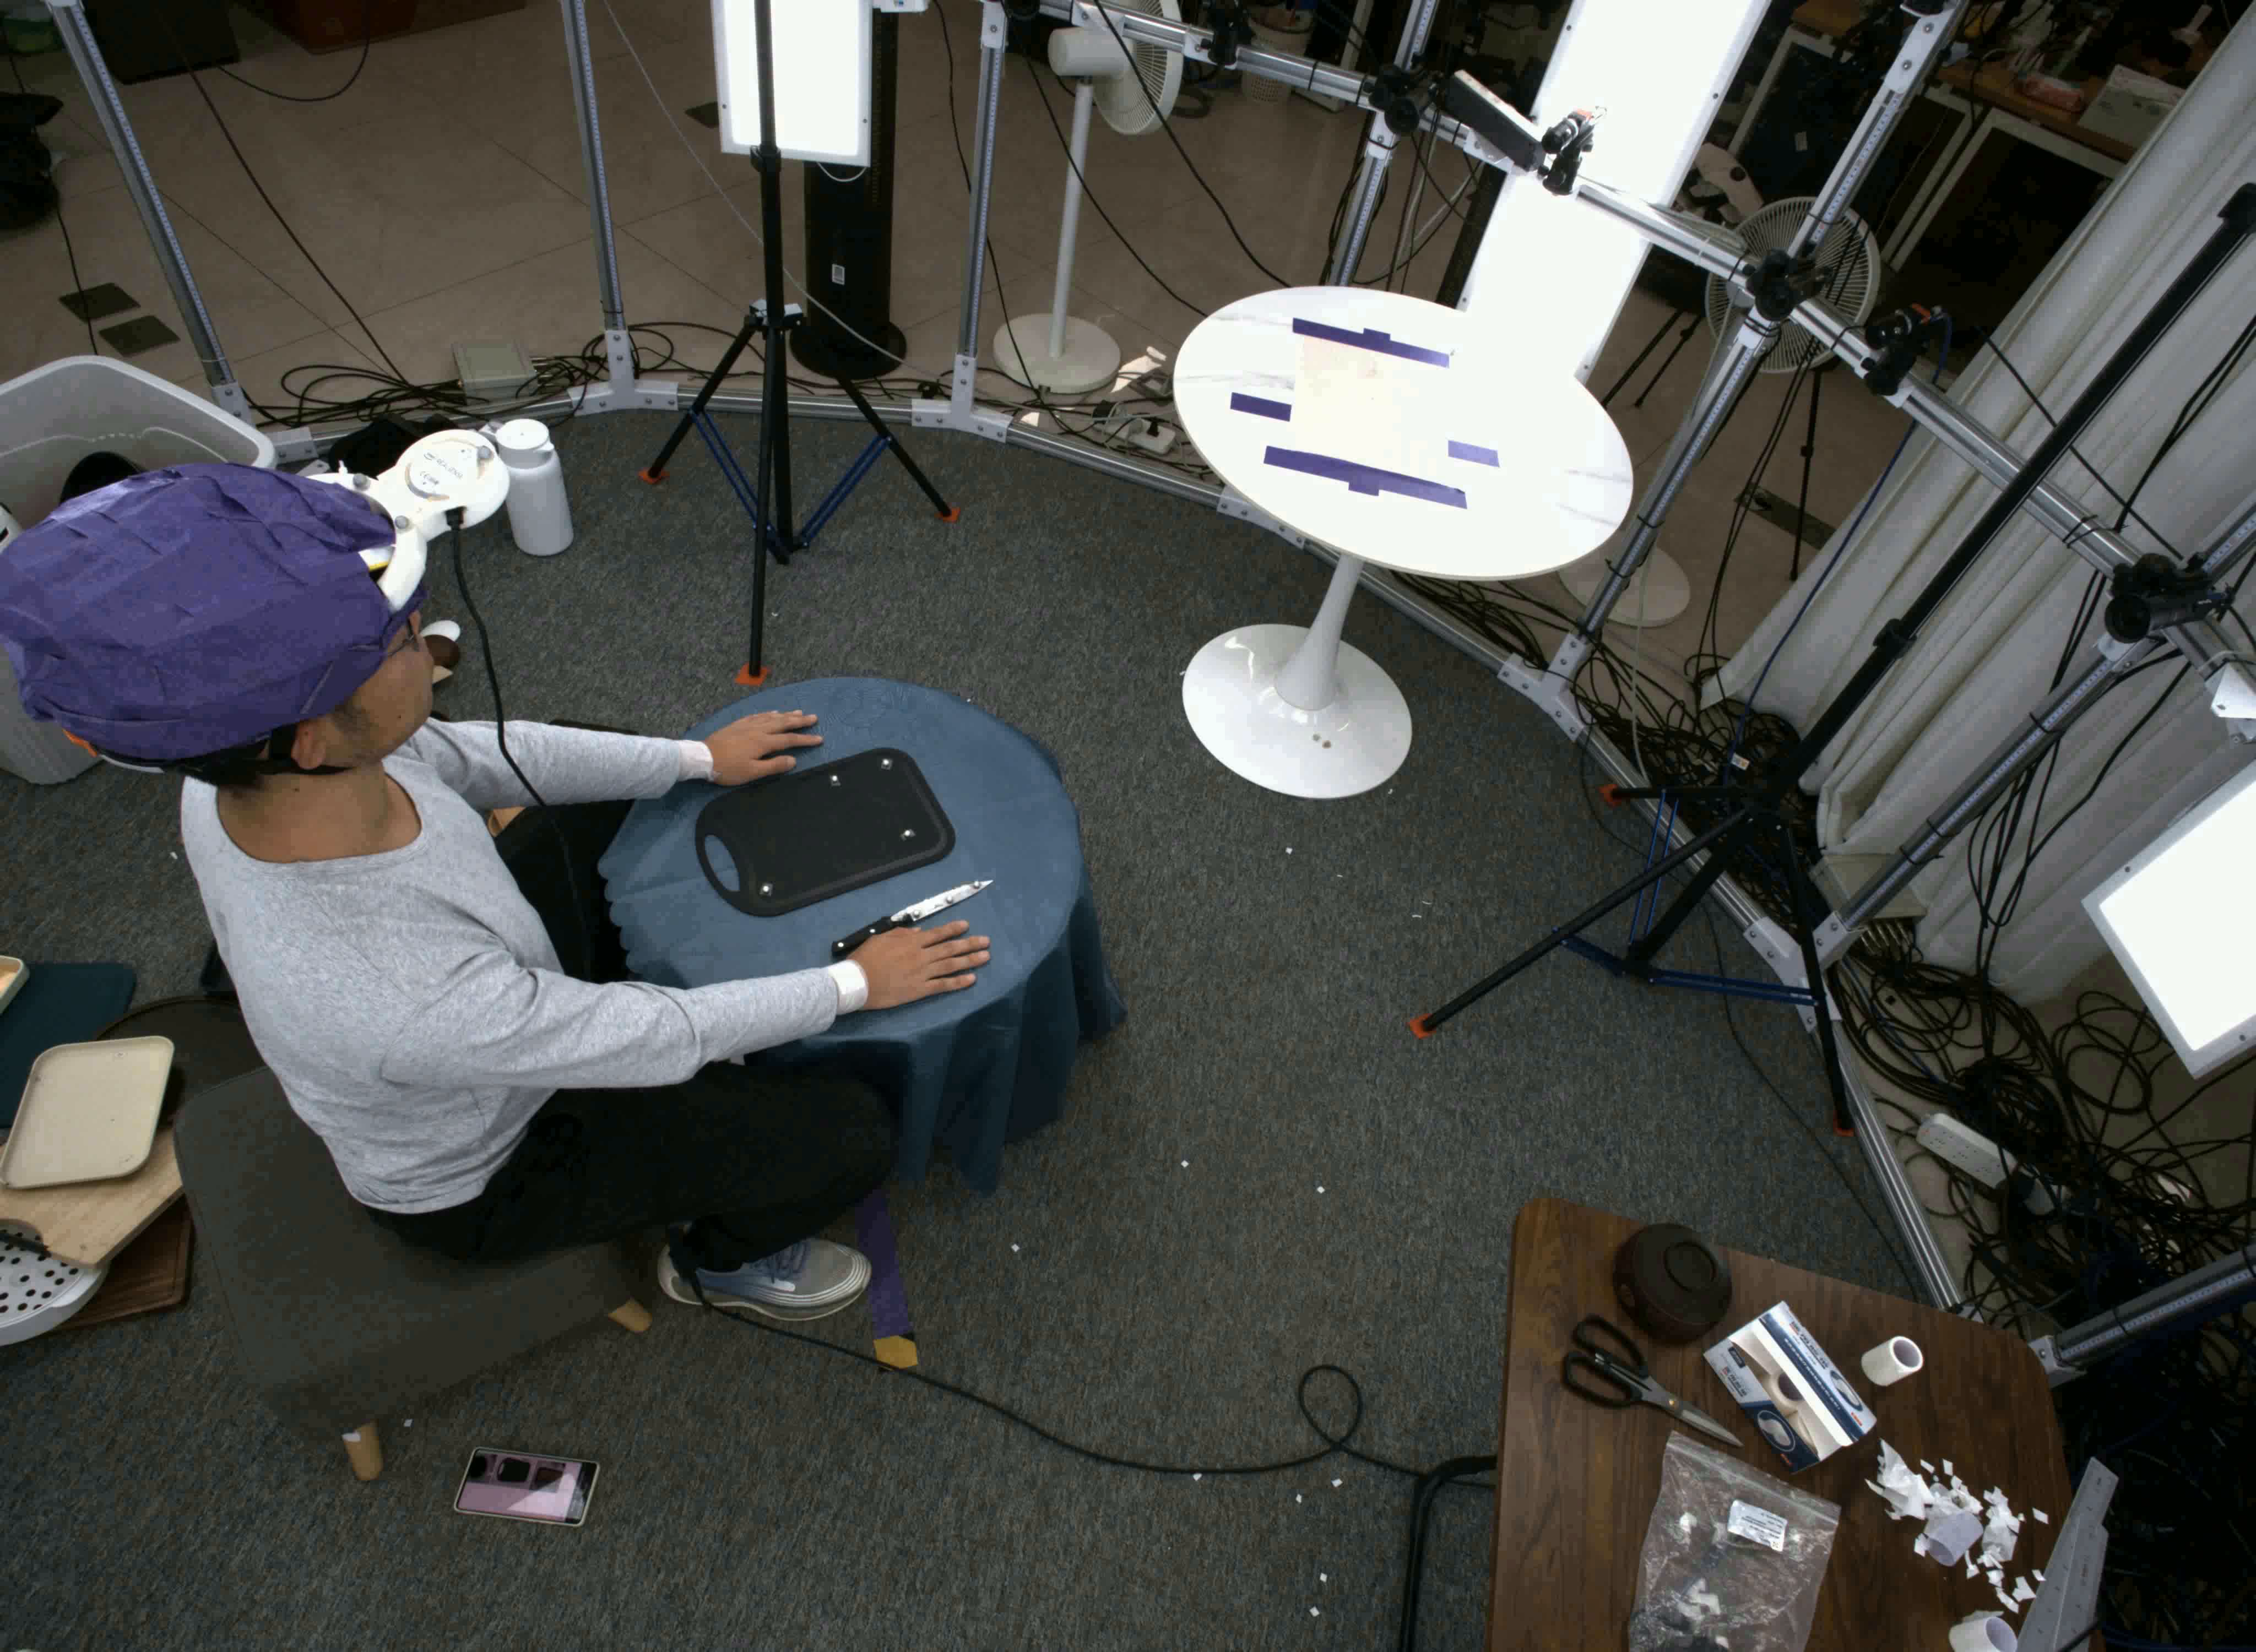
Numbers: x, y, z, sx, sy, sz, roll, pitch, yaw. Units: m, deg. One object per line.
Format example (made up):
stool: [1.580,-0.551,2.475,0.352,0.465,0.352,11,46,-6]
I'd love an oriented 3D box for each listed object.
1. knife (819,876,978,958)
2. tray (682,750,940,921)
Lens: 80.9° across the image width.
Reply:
knife: [-0.290,0.113,1.678,0.239,0.016,0.024,-26,64,-32]
tray: [-0.425,0.008,1.725,0.327,0.010,0.206,-20,61,-26]
